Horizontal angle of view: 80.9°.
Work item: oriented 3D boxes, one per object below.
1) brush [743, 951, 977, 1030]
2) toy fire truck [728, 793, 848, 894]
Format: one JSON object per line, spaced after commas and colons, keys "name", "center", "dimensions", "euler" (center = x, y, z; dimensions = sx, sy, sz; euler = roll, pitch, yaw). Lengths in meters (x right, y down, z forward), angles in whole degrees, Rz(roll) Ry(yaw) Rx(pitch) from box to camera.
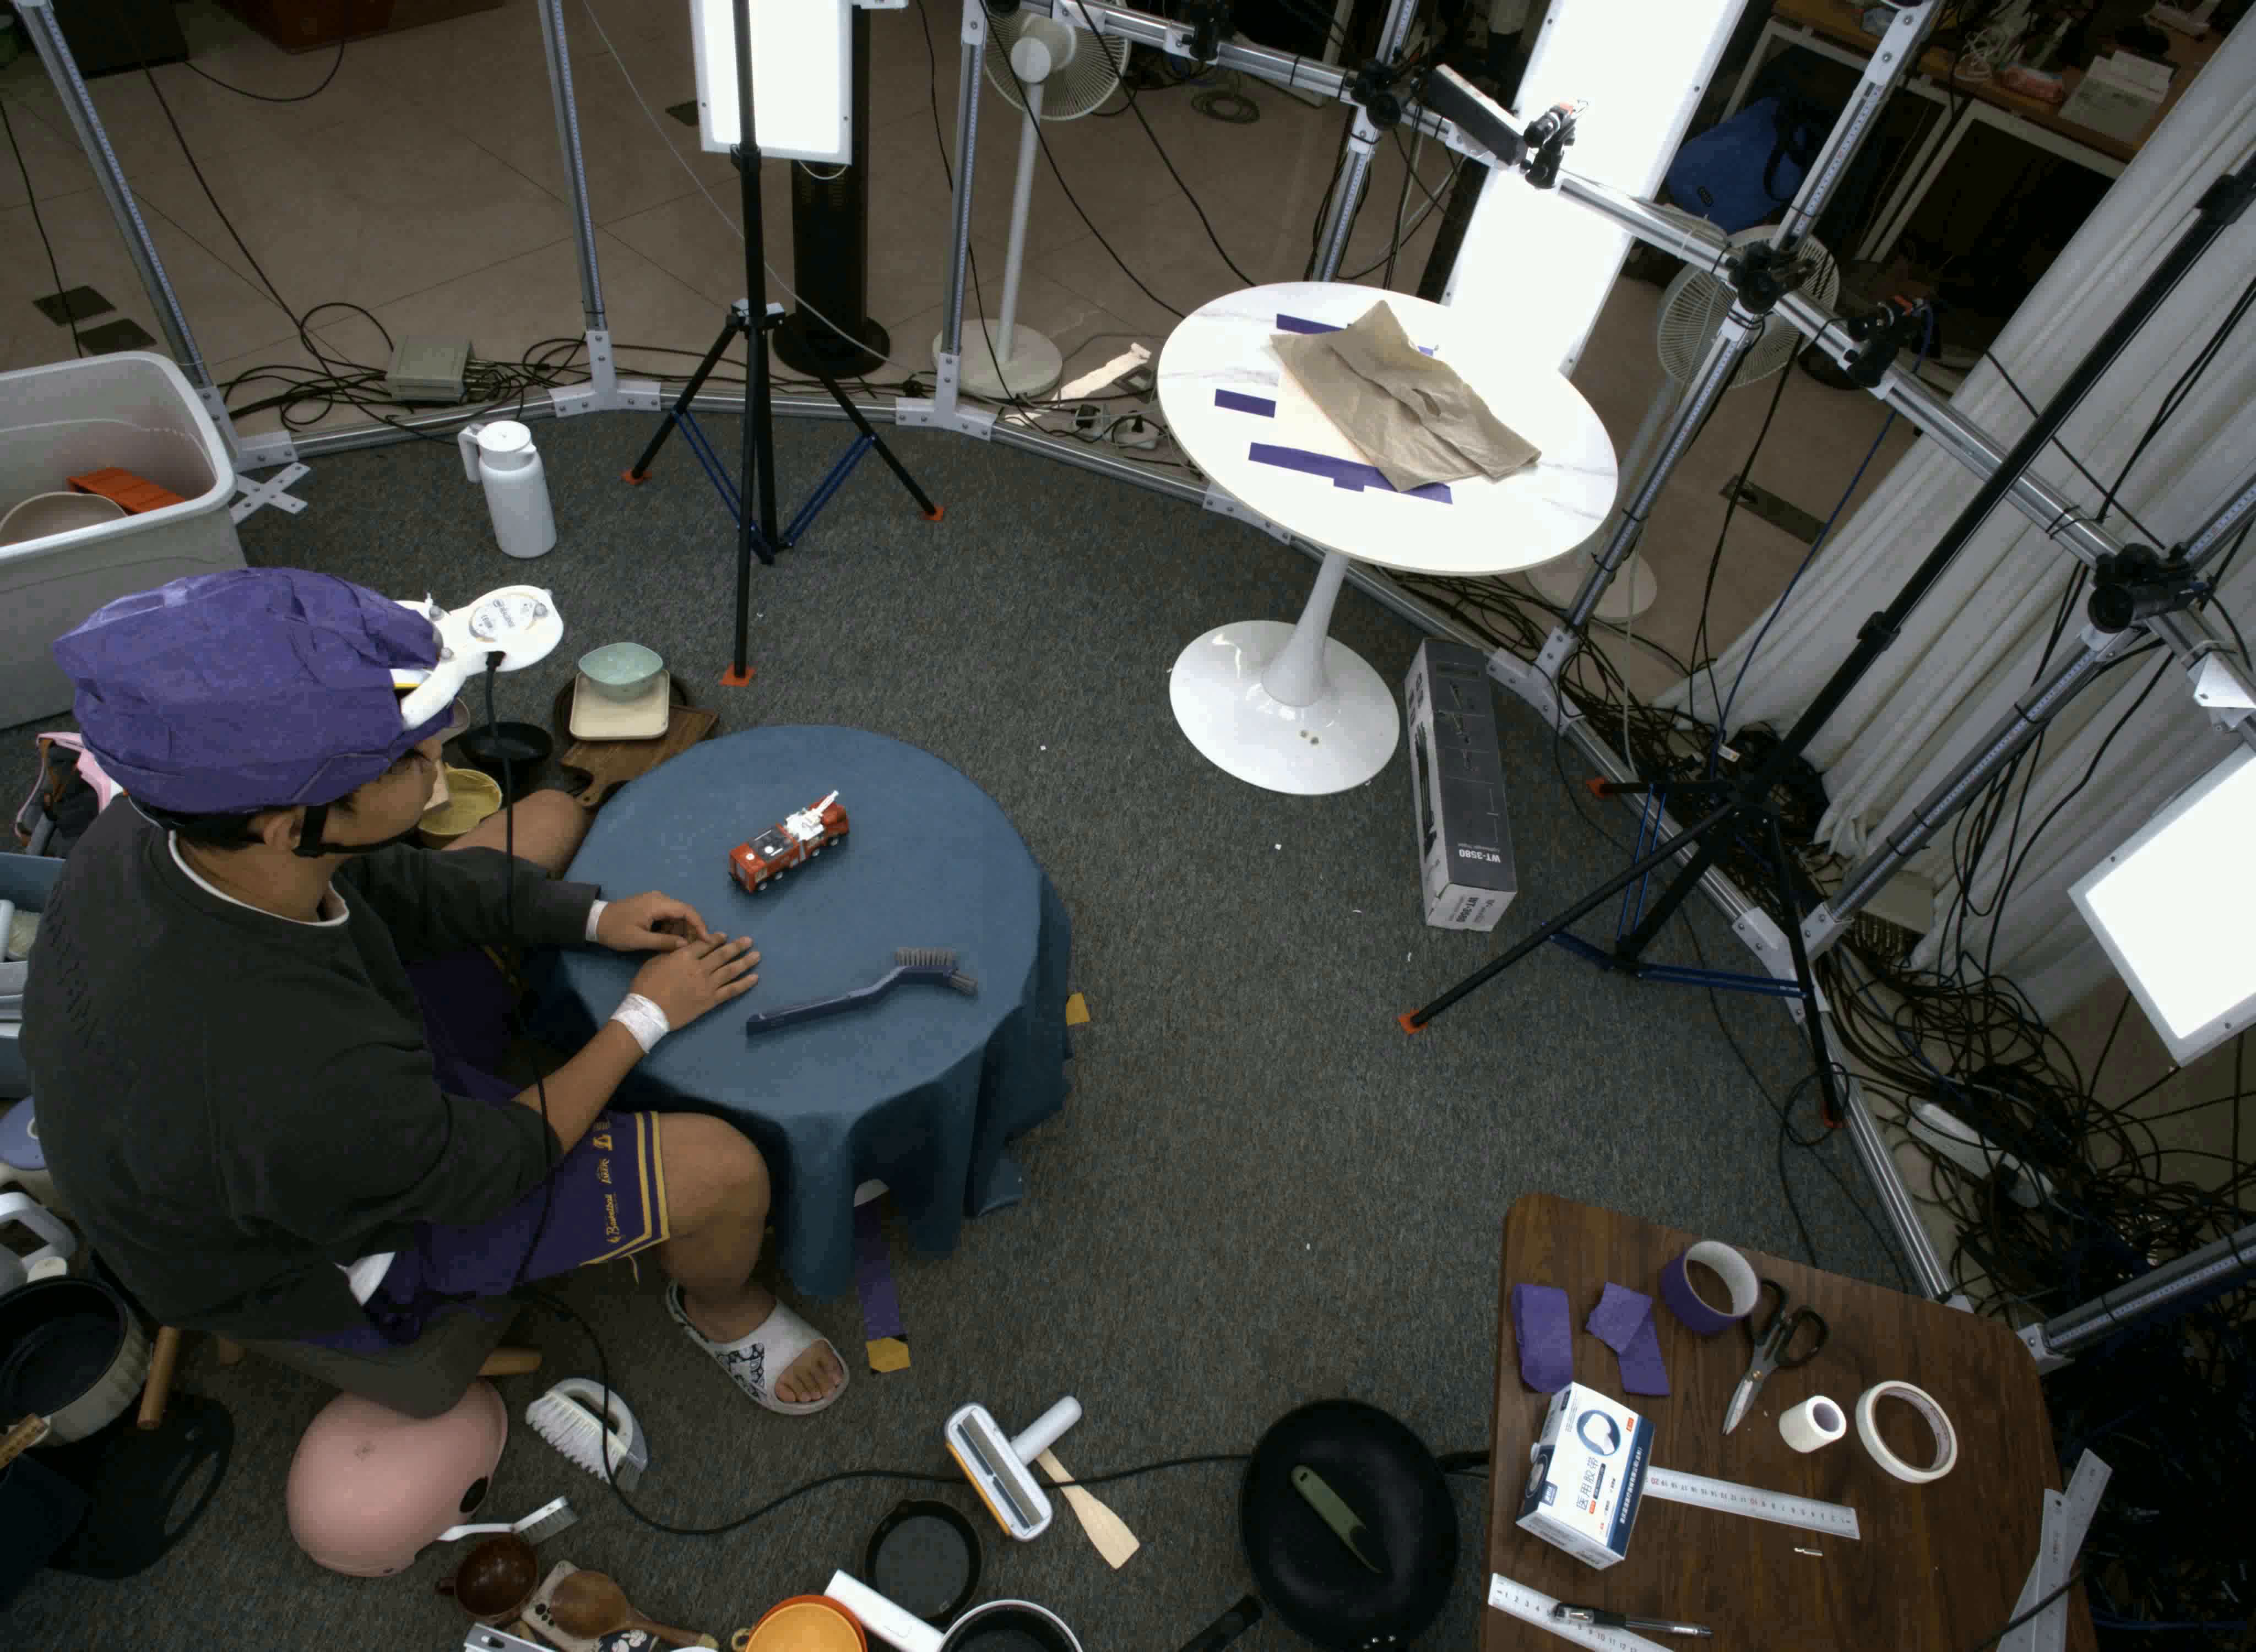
{"name": "brush", "center": [-0.324, 0.211, 1.577], "dimensions": [0.274, 0.034, 0.093], "euler": [-20, 61, -27]}
{"name": "toy fire truck", "center": [-0.436, 0.020, 1.673], "dimensions": [0.053, 0.072, 0.168], "euler": [40, 55, 19]}
